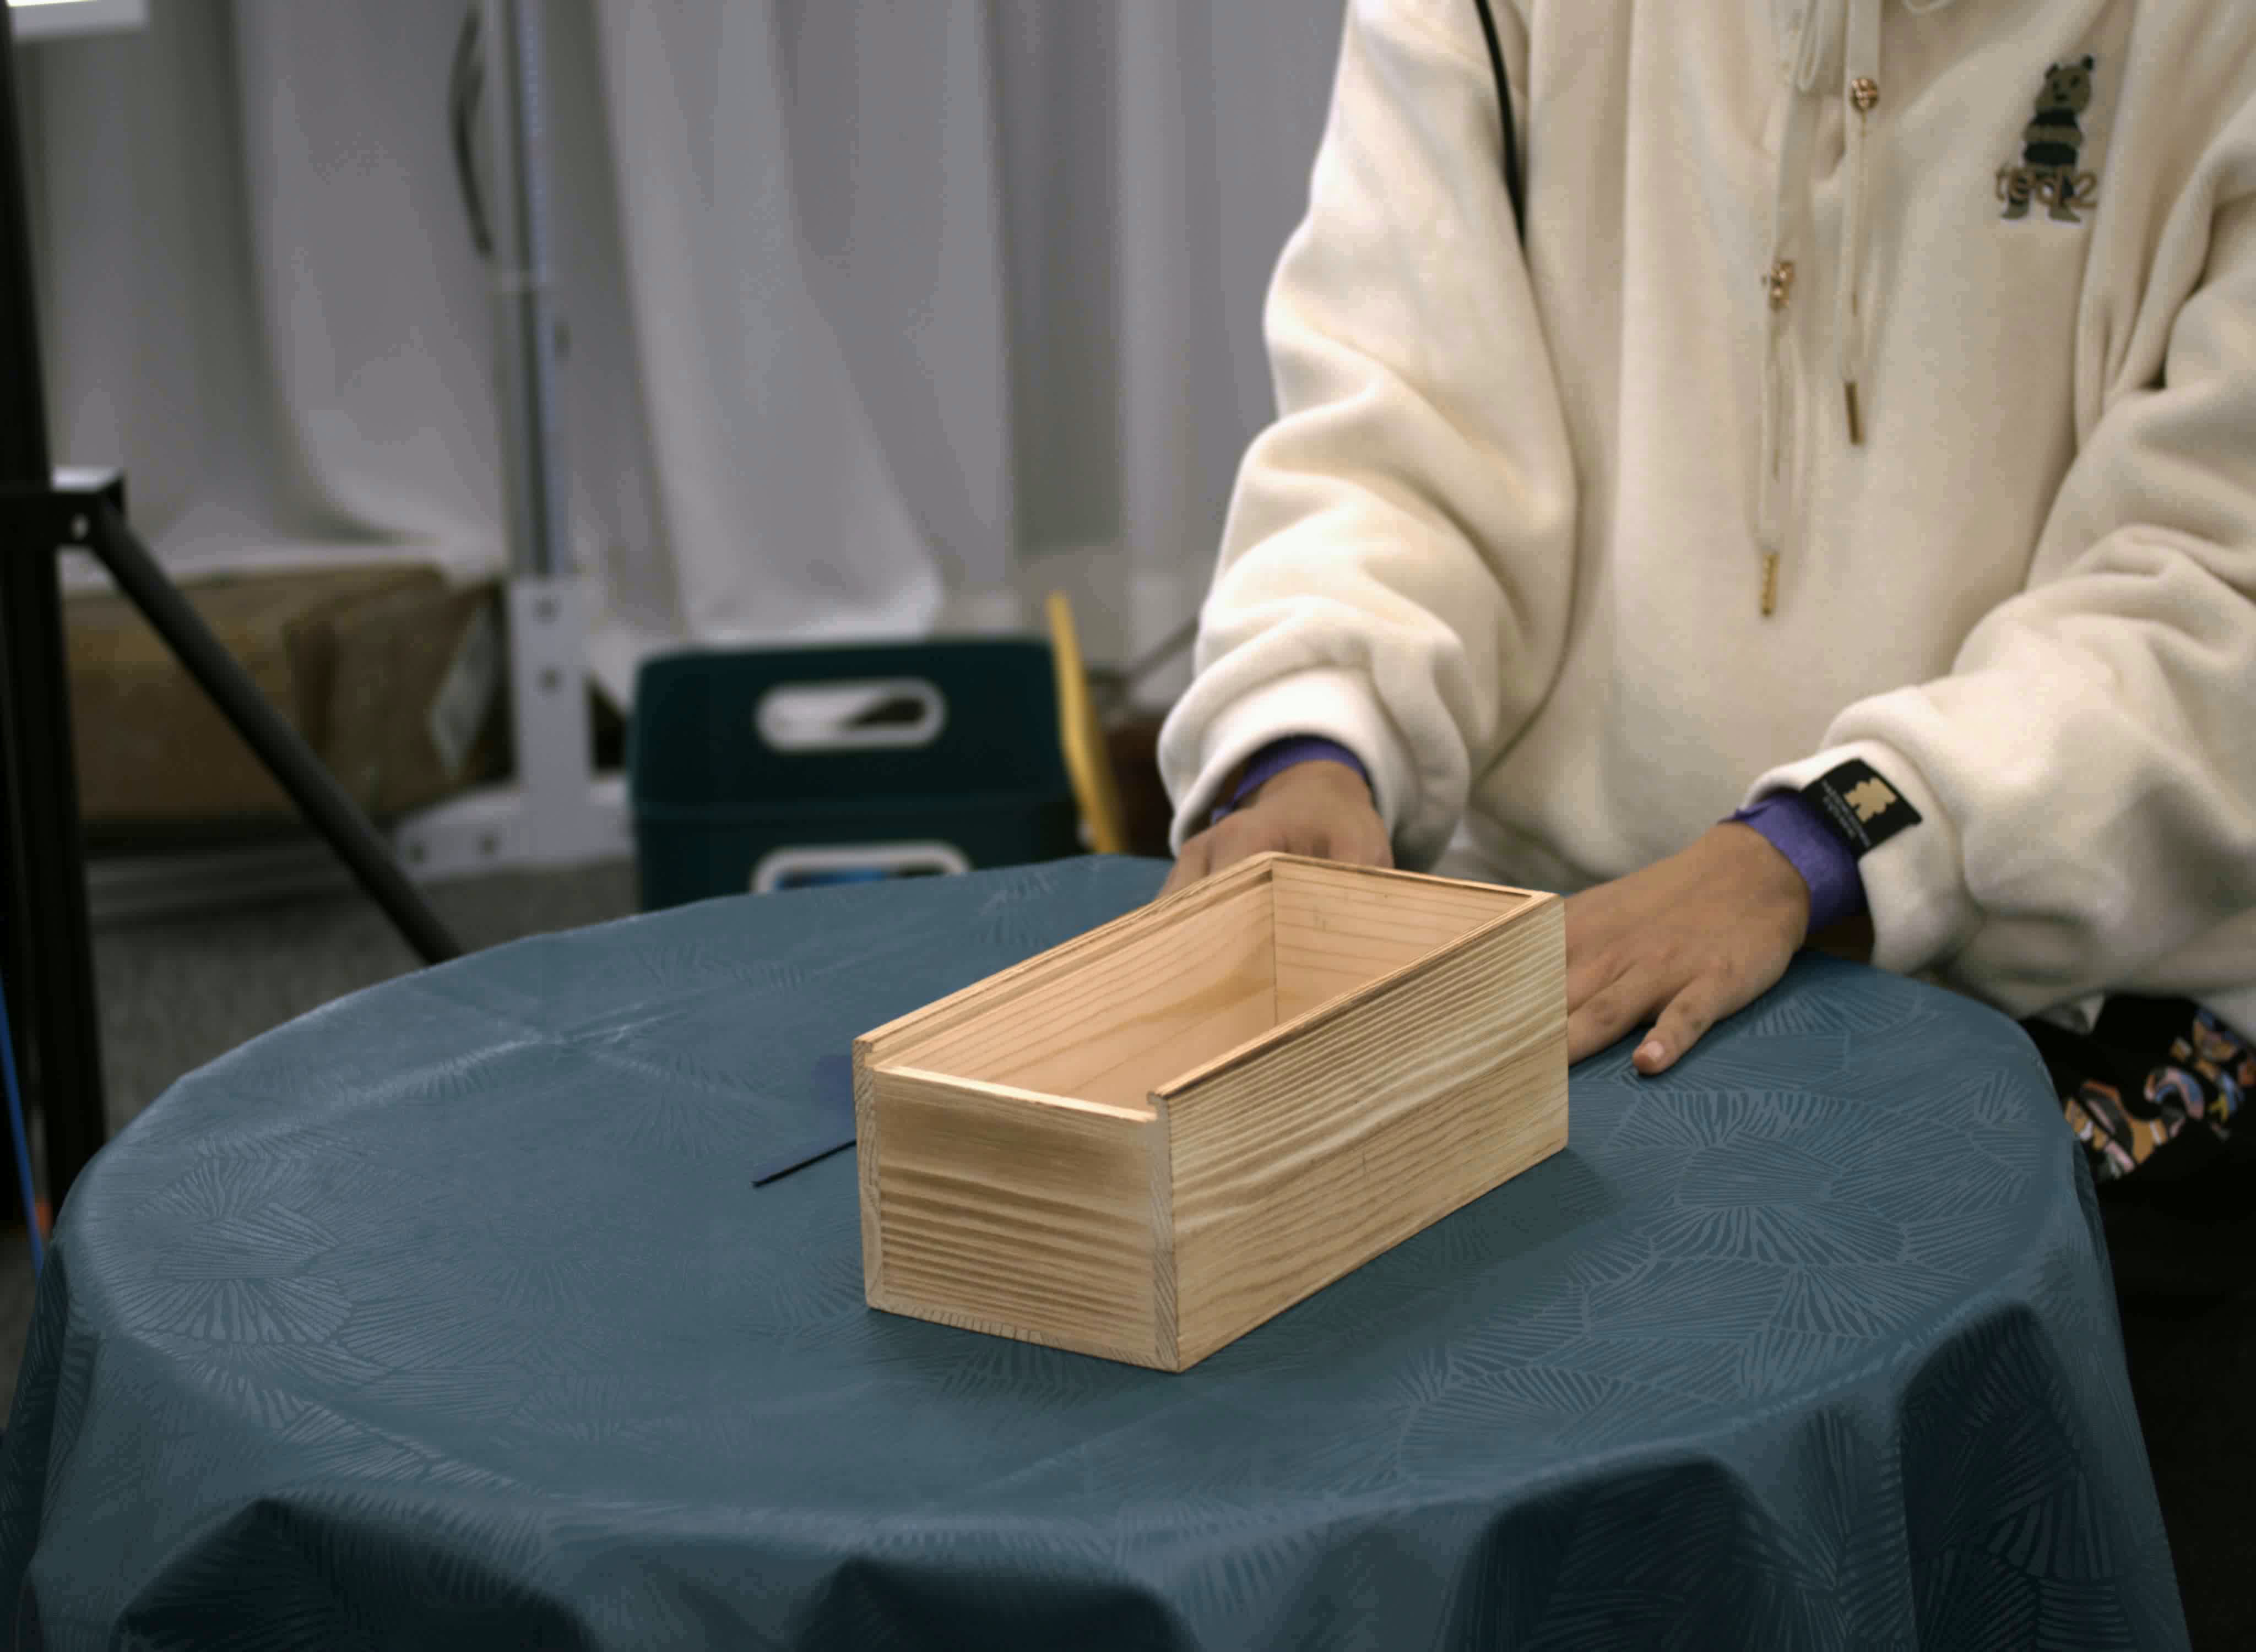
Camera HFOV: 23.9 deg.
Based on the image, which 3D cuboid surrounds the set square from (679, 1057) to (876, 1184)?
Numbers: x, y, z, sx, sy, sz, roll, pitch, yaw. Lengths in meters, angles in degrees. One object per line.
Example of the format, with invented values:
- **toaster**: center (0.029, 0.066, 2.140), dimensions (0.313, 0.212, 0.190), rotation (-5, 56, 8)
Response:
- **set square**: center (-0.103, 0.086, 1.644), dimensions (0.062, 0.006, 0.129), rotation (13, 22, 41)

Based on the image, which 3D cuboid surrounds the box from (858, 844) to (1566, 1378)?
- **box**: center (0.028, 0.077, 1.517), dimensions (0.109, 0.080, 0.207), rotation (9, 20, 33)
